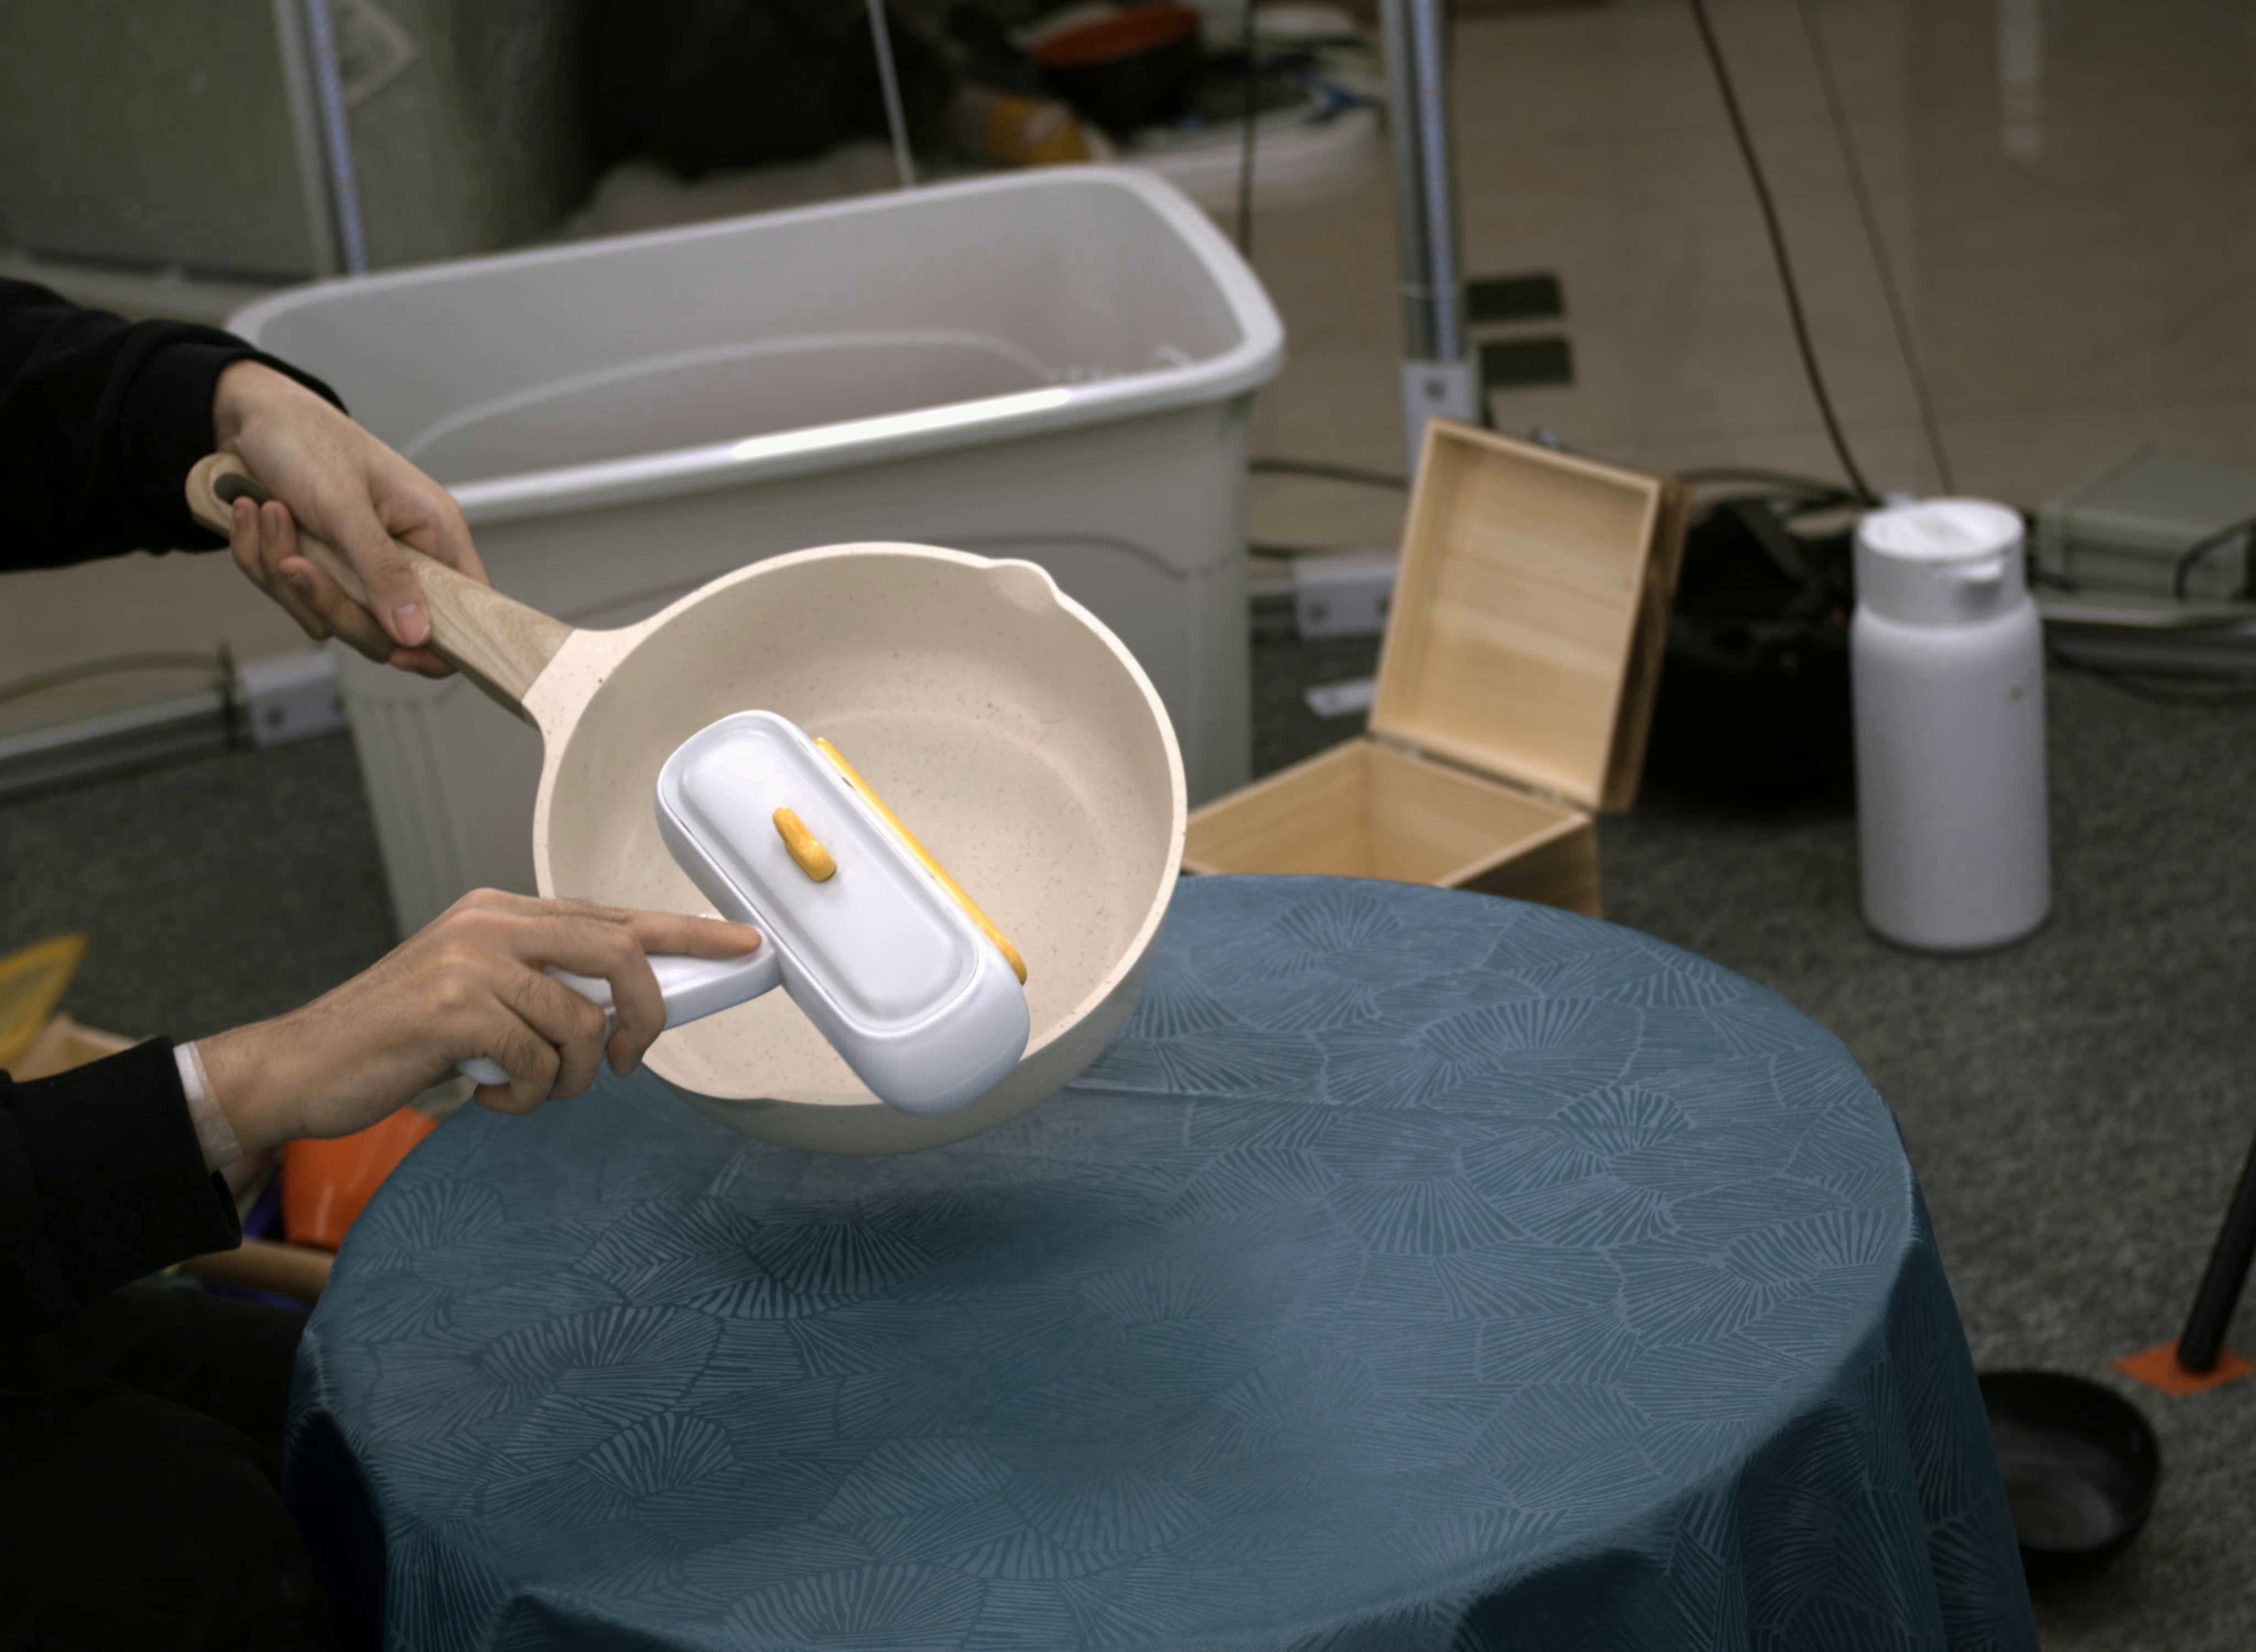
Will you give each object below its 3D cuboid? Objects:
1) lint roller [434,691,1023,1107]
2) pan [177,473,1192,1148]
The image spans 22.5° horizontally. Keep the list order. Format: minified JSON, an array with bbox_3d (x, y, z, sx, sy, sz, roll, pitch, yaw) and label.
[{"bbox_3d":[-0.157,0.048,2.000,0.191,0.075,0.190,-32,56,-18],"label":"lint roller"},{"bbox_3d":[-0.178,-0.027,2.212,0.432,0.103,0.260,24,67,17],"label":"pan"}]
